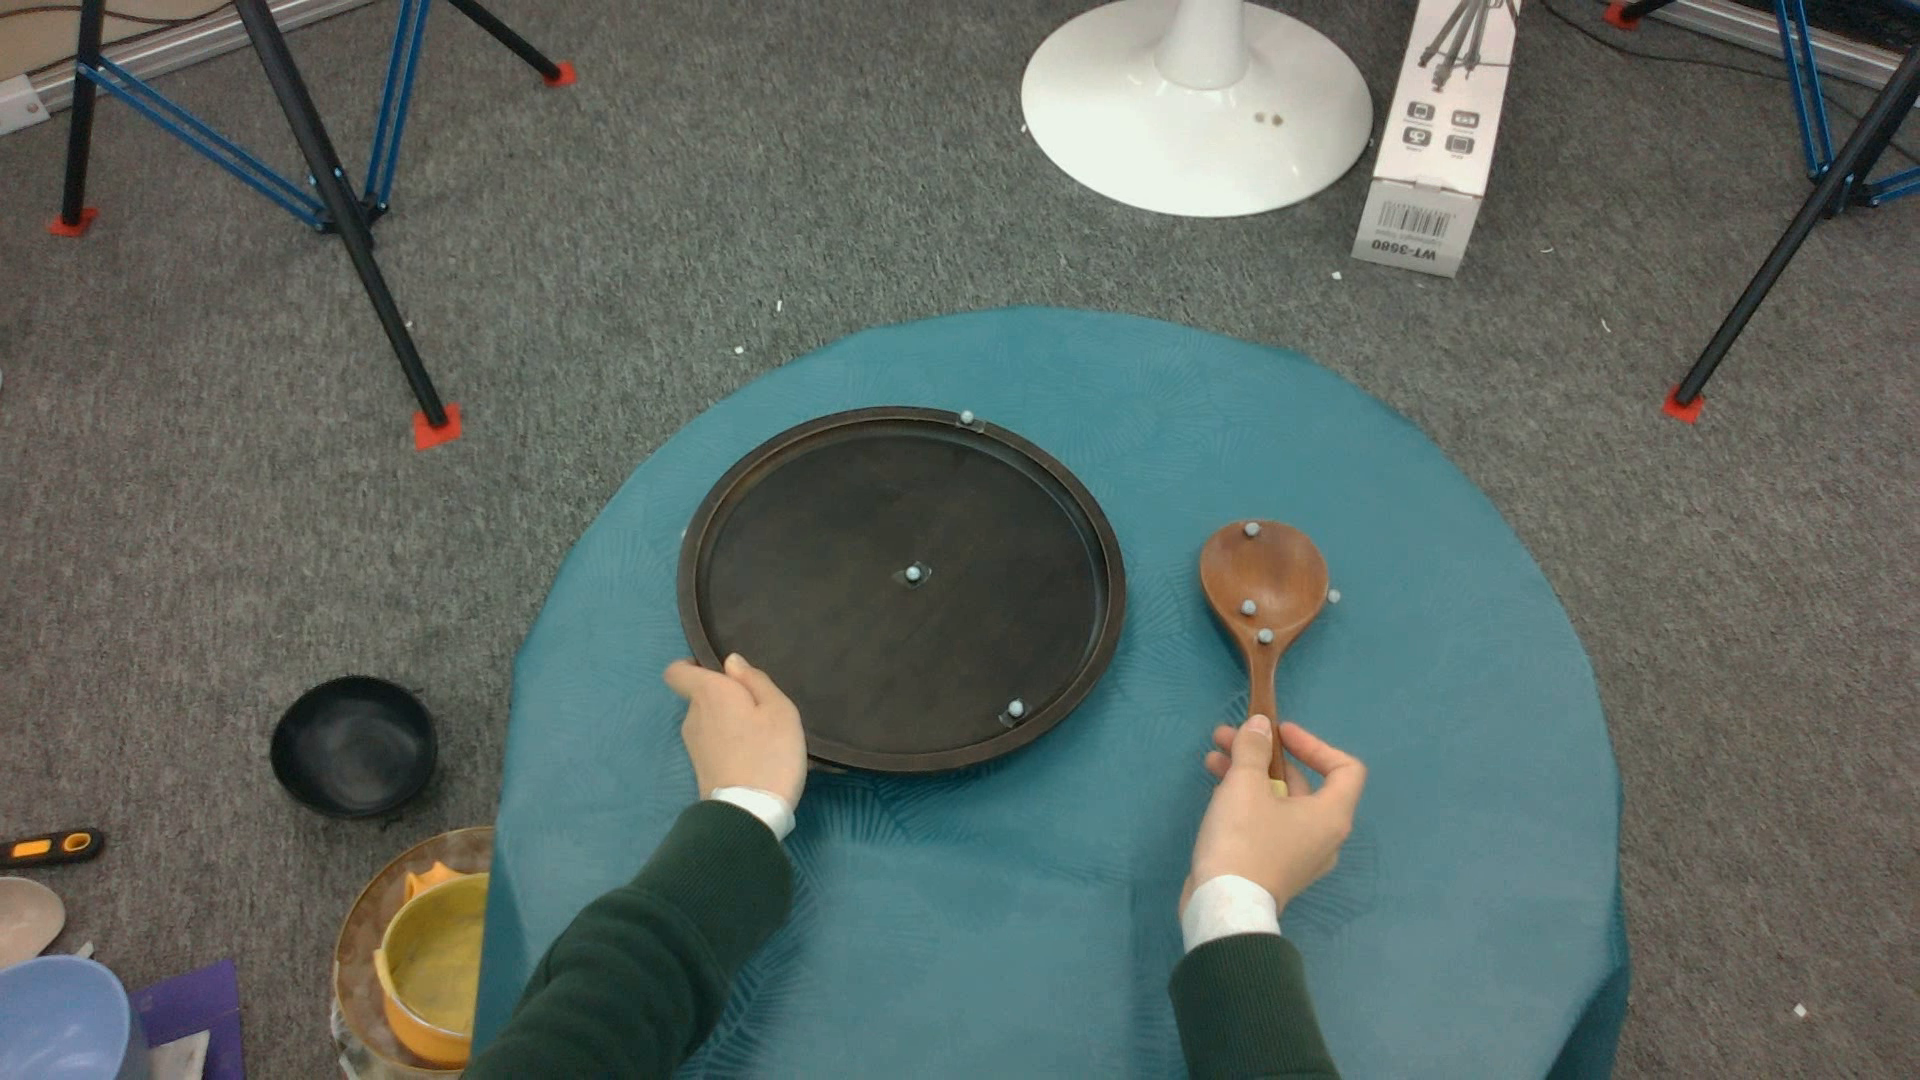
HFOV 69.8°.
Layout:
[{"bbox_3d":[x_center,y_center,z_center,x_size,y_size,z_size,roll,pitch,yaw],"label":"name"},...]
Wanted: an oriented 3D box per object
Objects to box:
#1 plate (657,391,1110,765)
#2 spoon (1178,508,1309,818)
[{"bbox_3d":[-0.042,0.015,0.779,0.255,0.029,0.256,3,52,-3],"label":"plate"},{"bbox_3d":[0.154,0.059,0.747,0.075,0.017,0.217,8,44,4],"label":"spoon"}]
